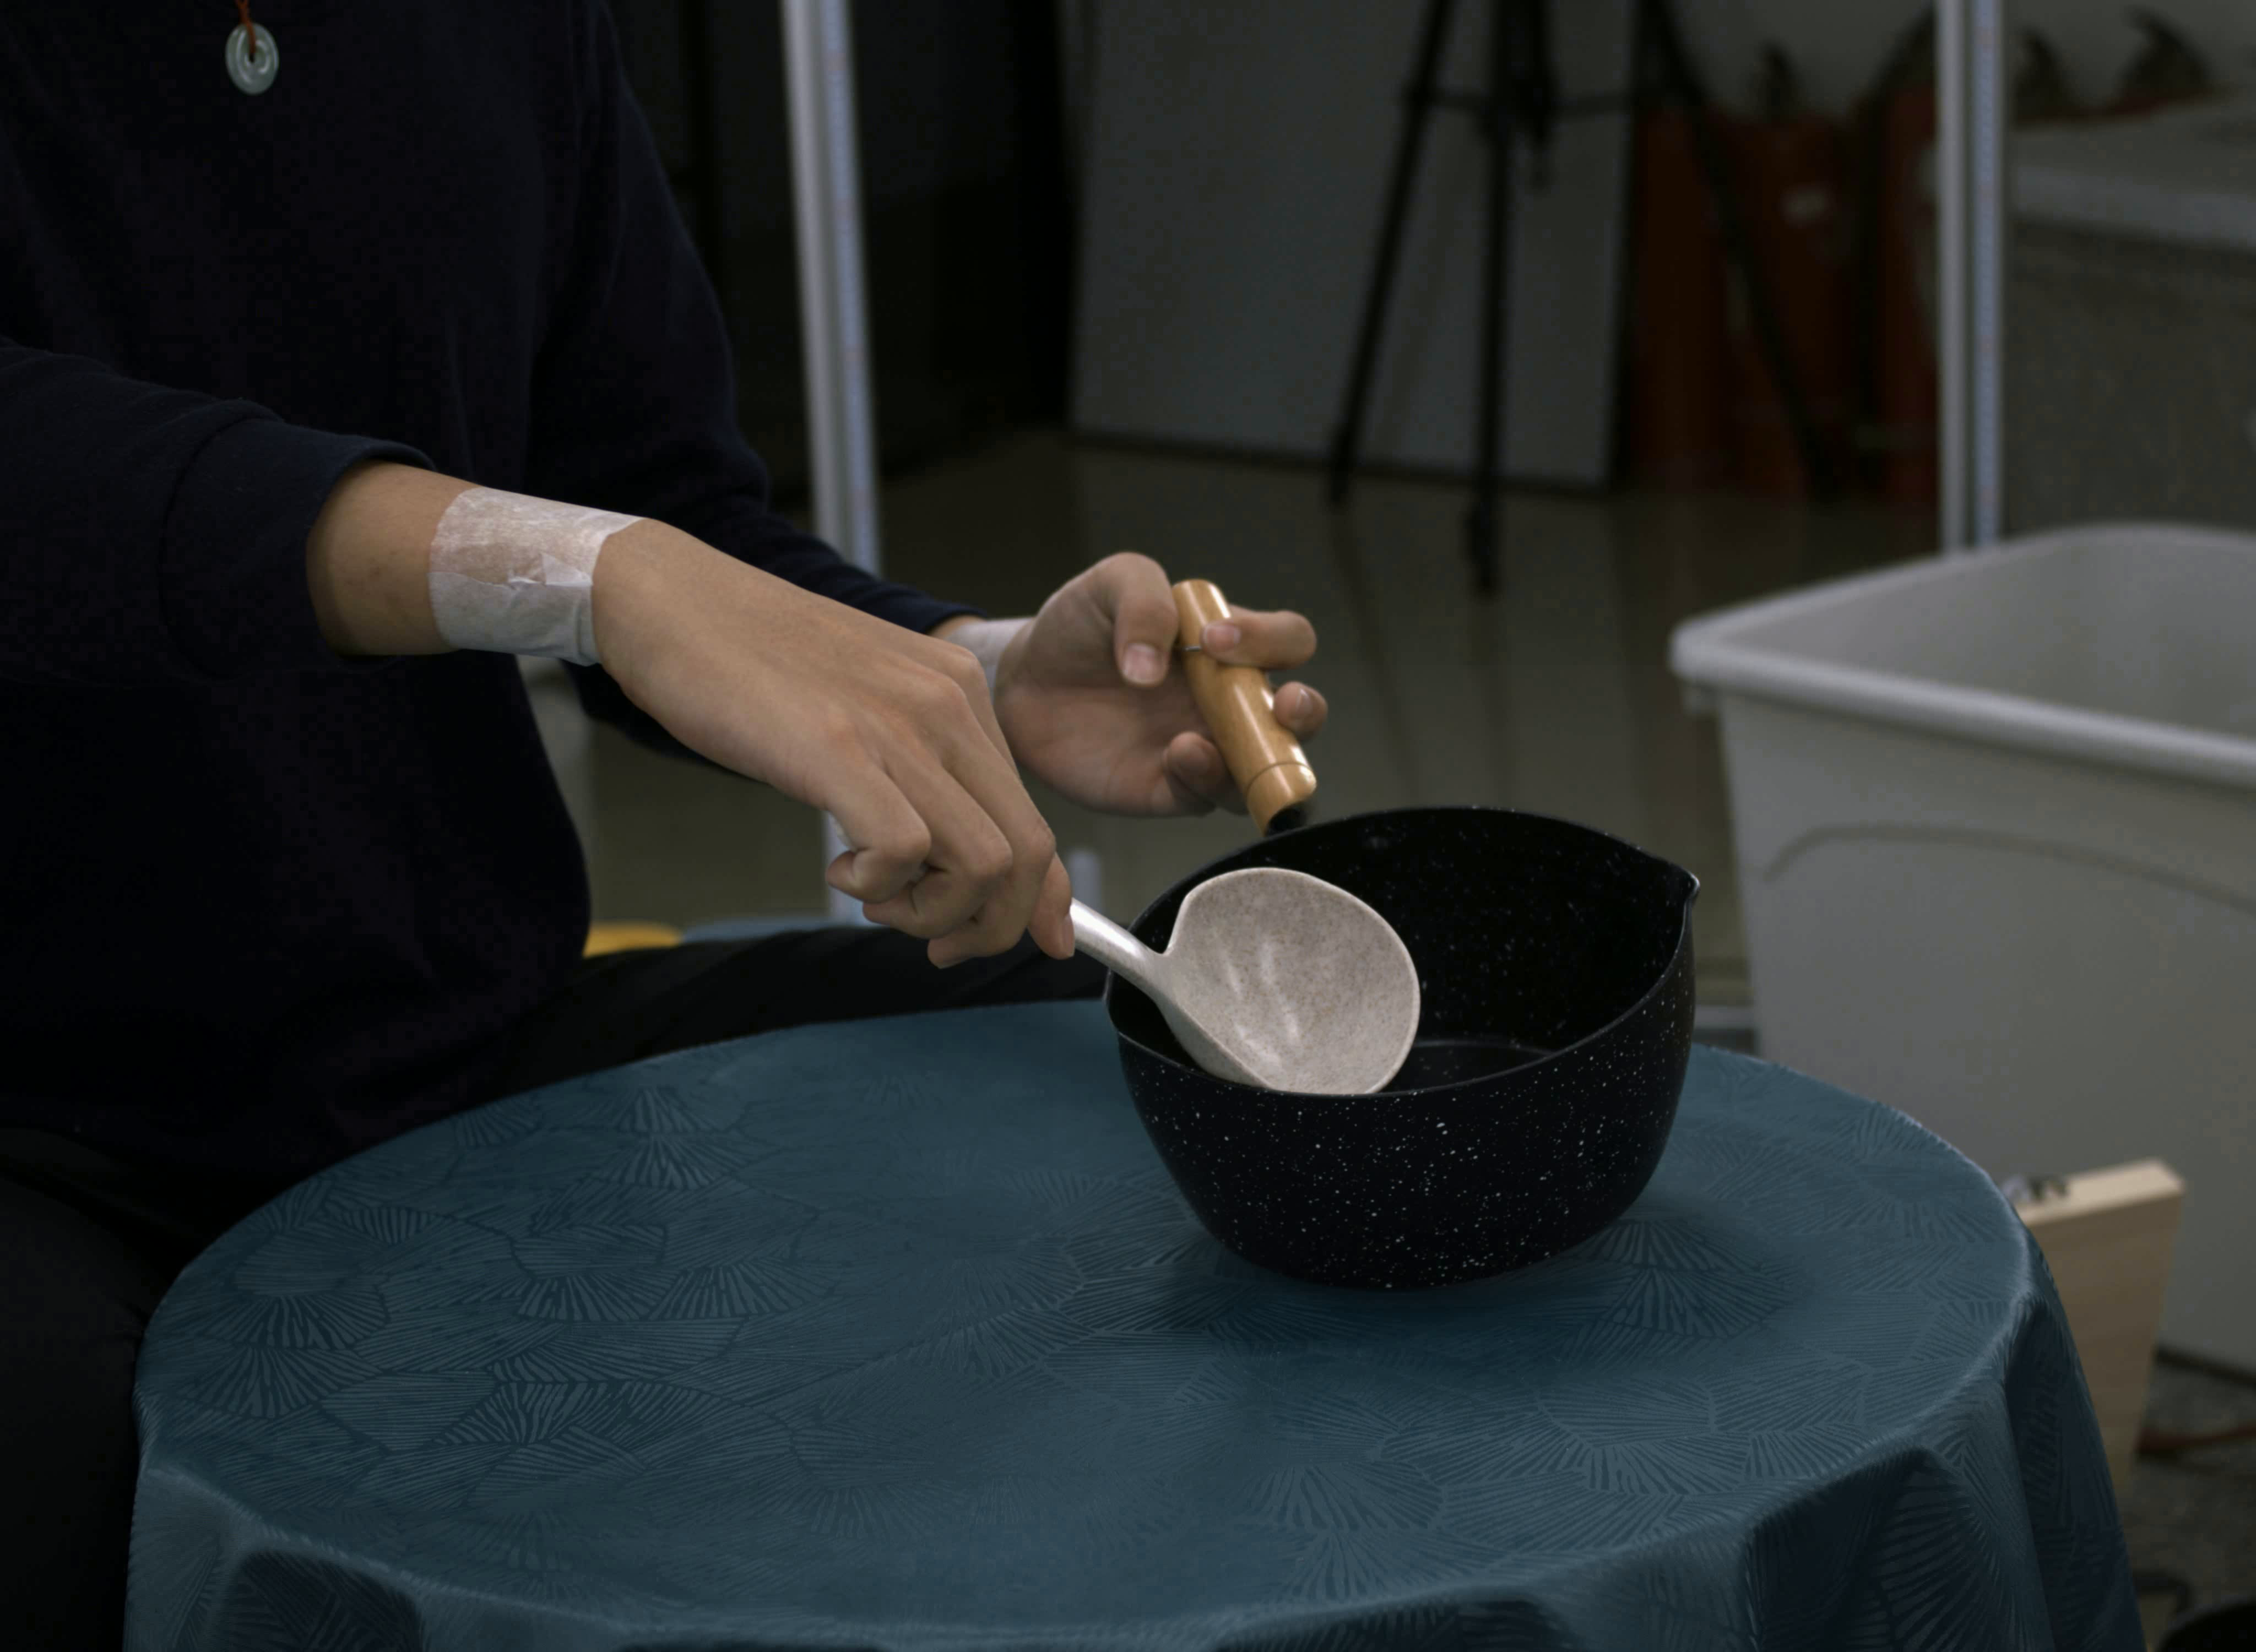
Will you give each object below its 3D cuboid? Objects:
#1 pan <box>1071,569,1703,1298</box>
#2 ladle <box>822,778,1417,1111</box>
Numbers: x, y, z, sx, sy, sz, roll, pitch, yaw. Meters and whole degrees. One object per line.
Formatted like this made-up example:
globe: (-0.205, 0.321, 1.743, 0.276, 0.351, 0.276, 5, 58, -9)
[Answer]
pan: (0.067, 0.030, 1.767, 0.204, 0.109, 0.346, -16, 28, -9)
ladle: (0.003, 0.017, 1.557, 0.069, 0.090, 0.271, -29, -28, 15)
